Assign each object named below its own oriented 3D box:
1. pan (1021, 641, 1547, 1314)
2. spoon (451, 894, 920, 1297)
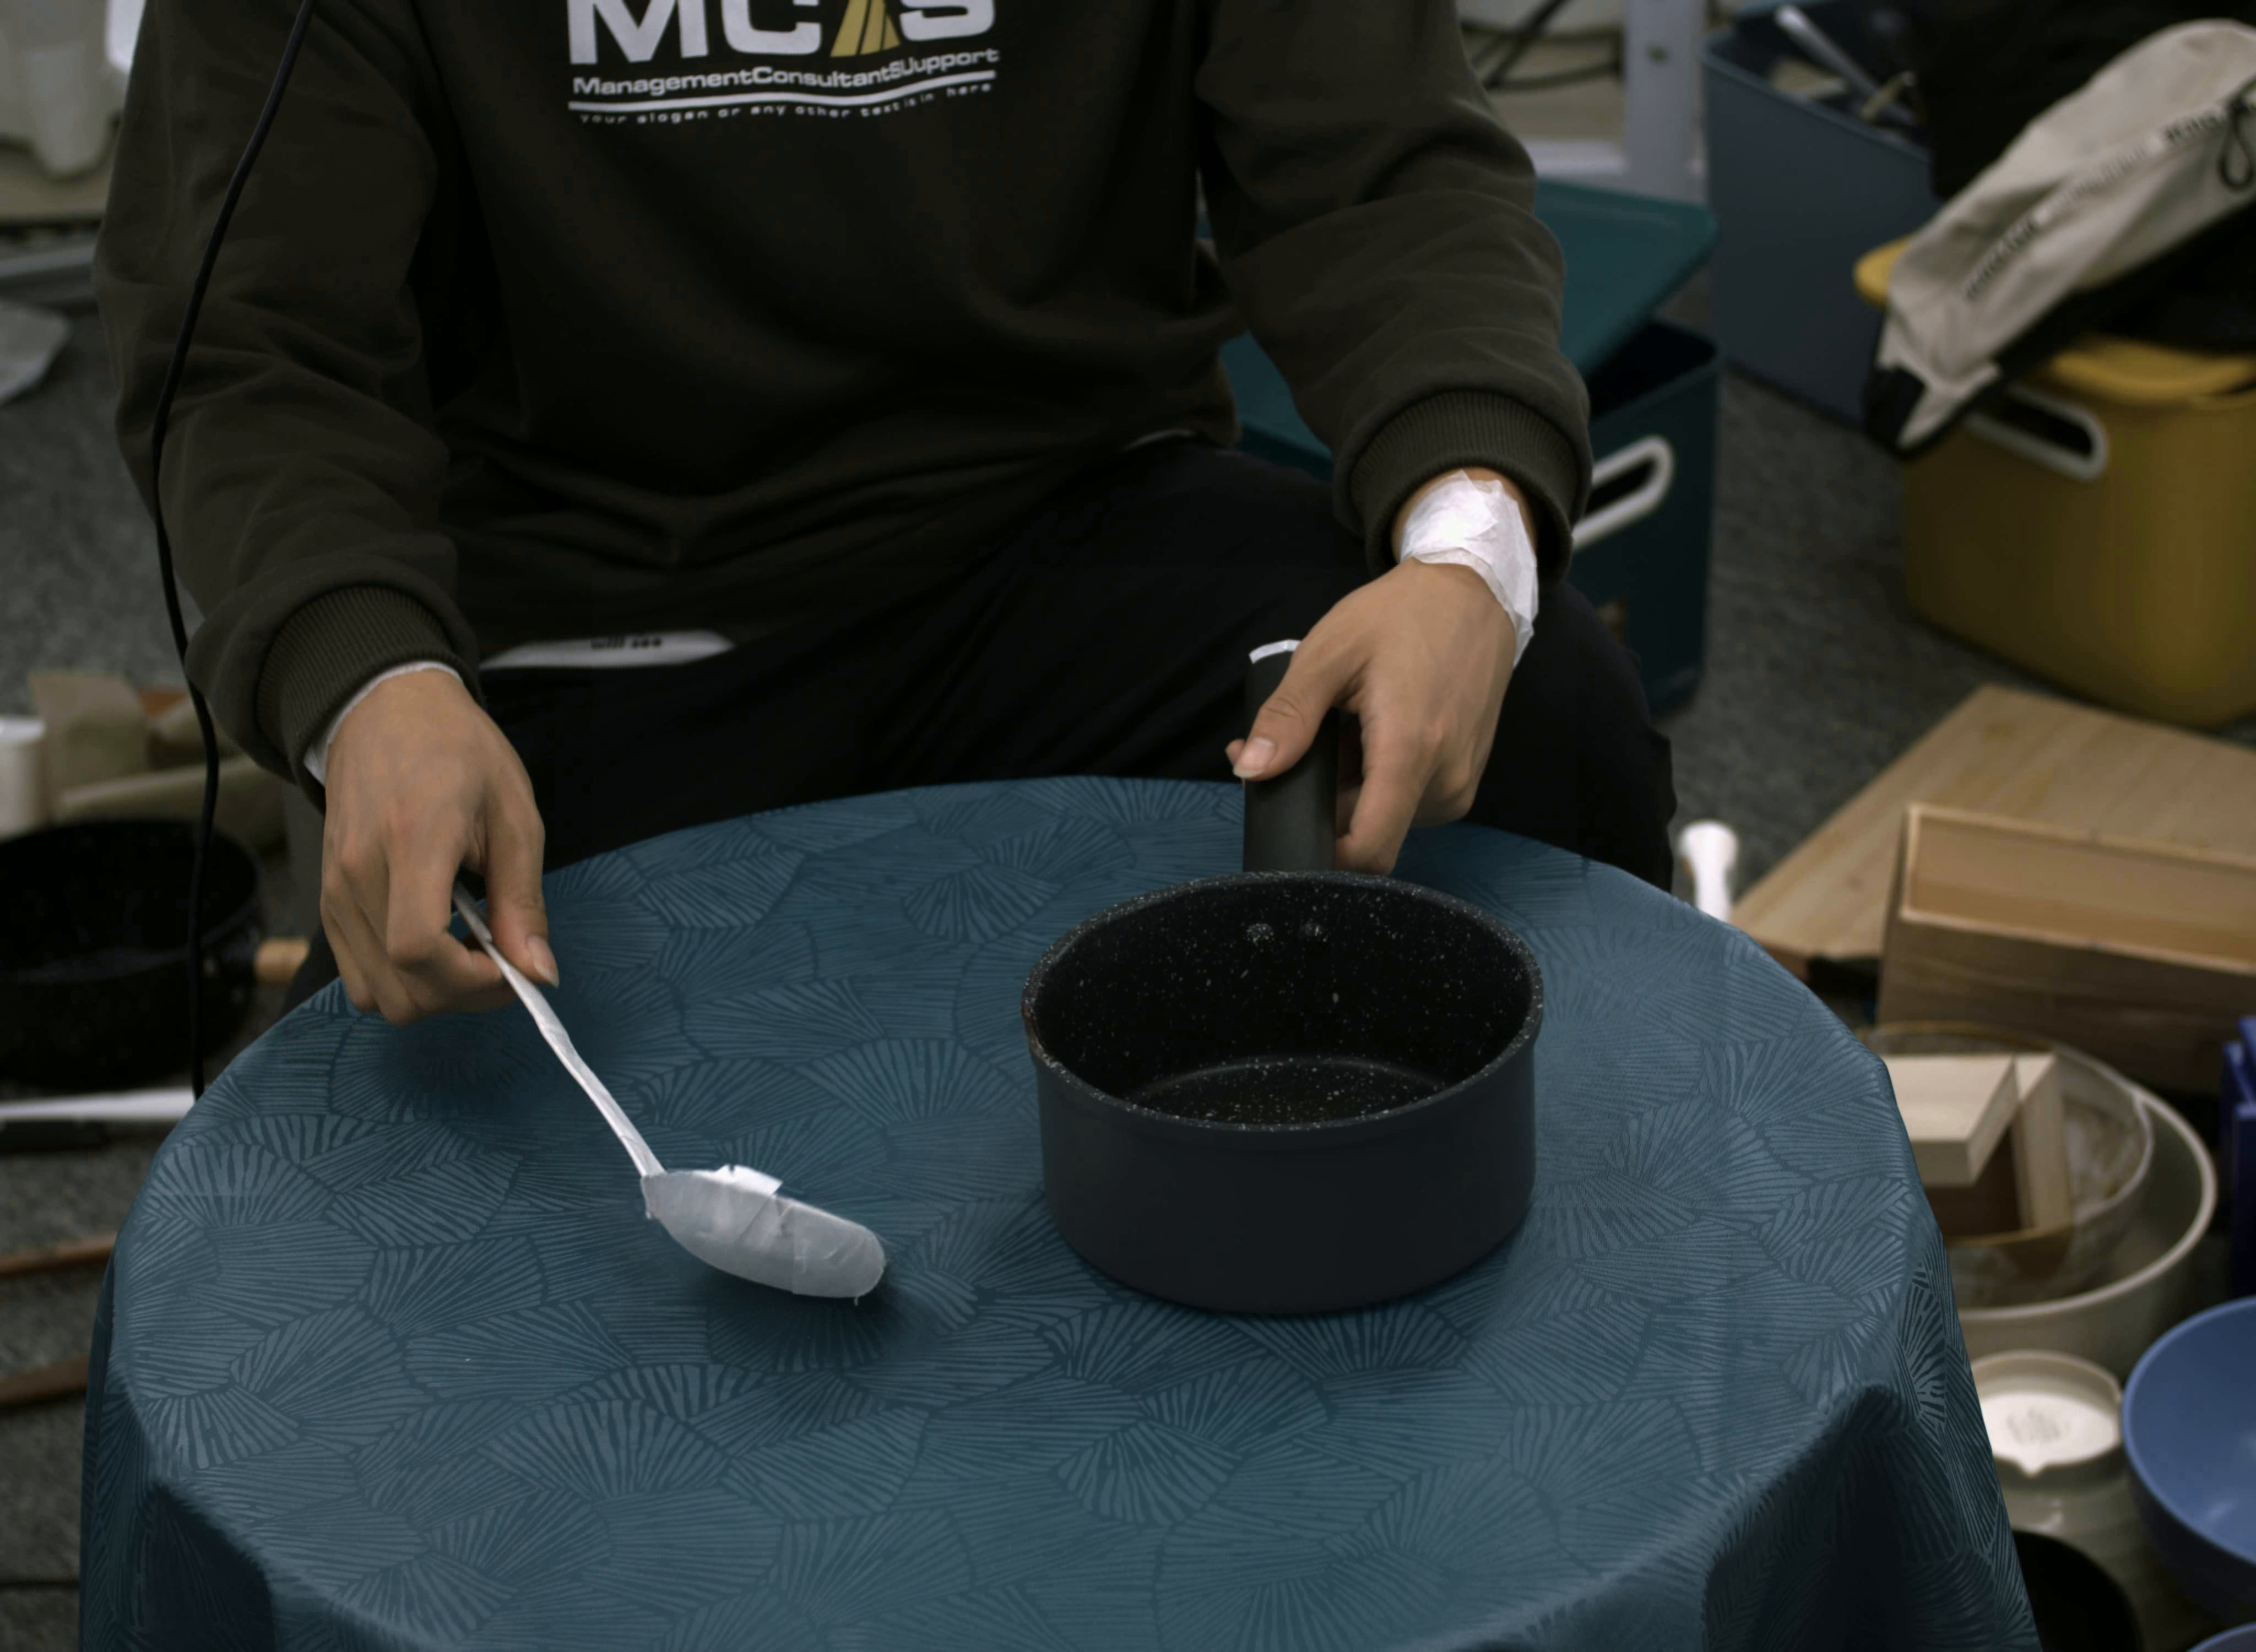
[{"bbox_3d":[0.059,0.048,1.910,0.171,0.085,0.334,1,28,5],"label":"pan"},{"bbox_3d":[-0.152,0.078,1.863,0.059,0.100,0.280,-47,41,5],"label":"spoon"}]
